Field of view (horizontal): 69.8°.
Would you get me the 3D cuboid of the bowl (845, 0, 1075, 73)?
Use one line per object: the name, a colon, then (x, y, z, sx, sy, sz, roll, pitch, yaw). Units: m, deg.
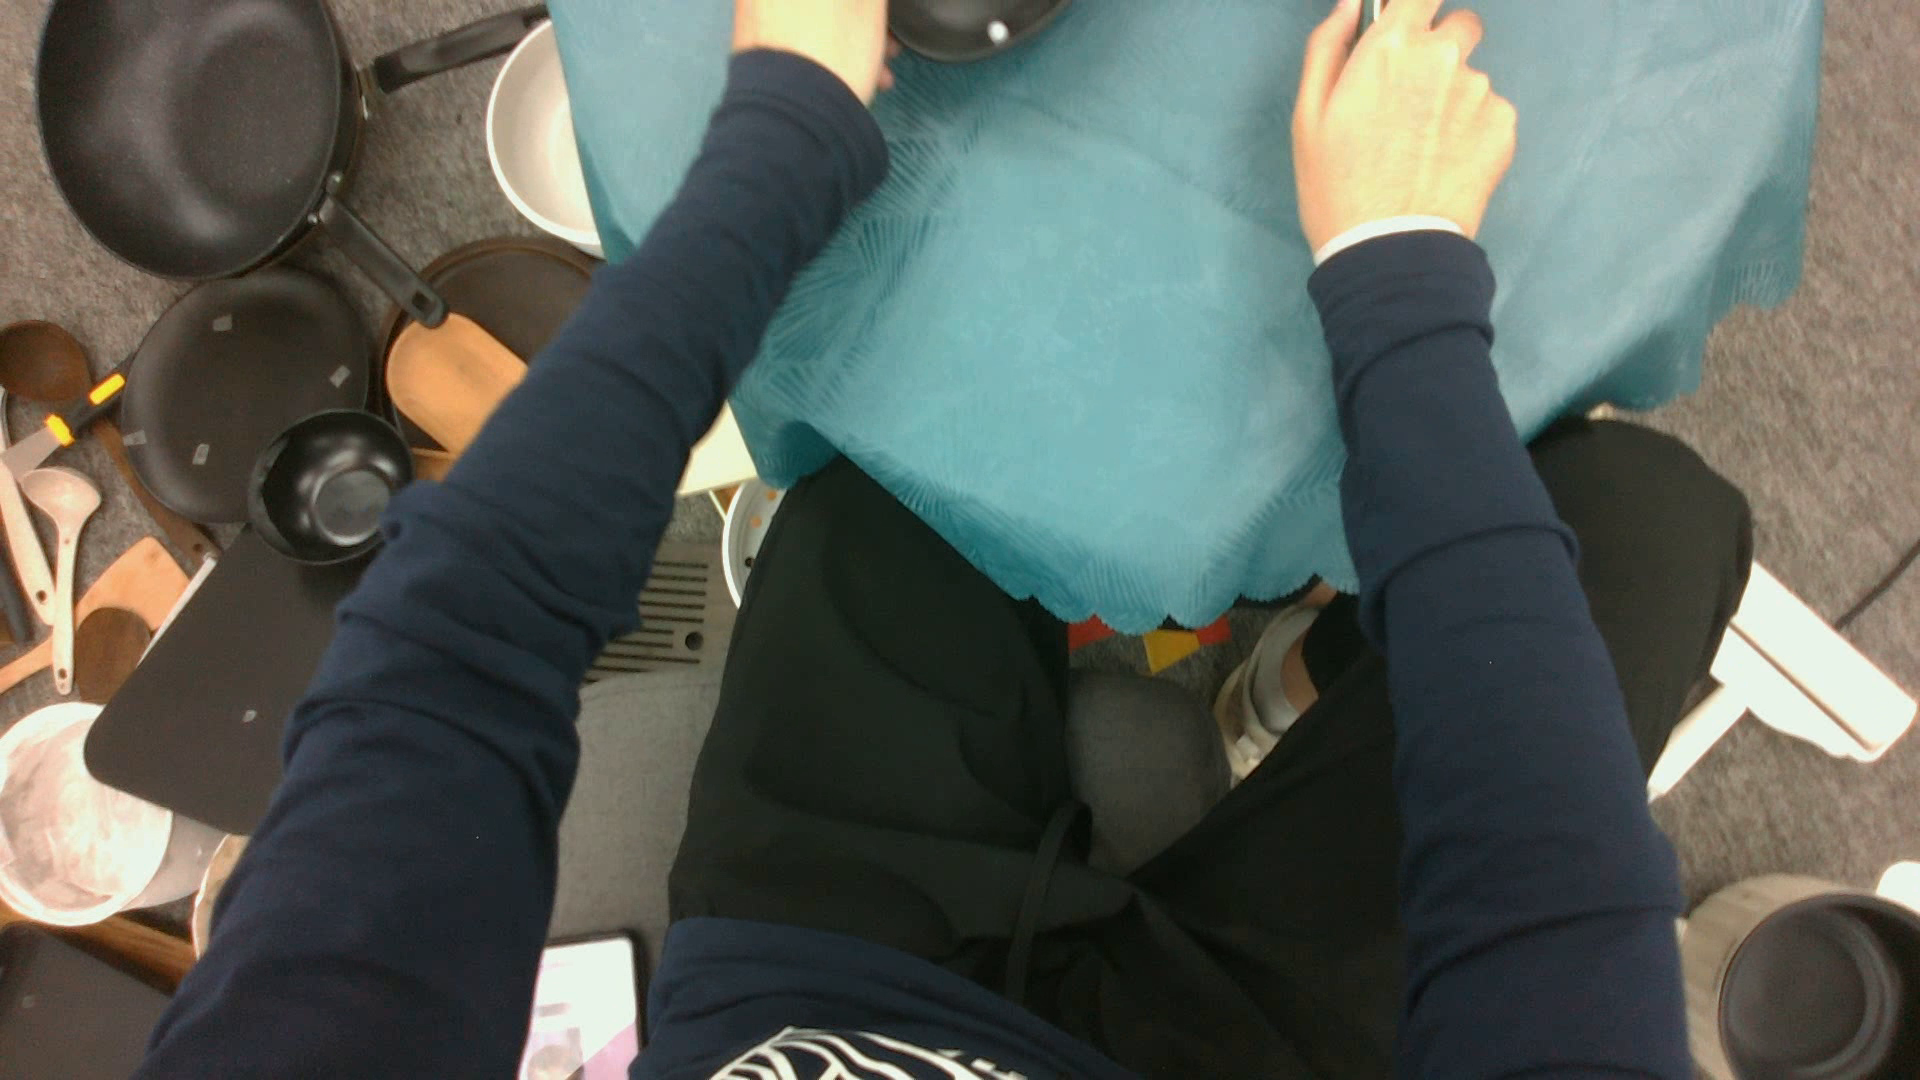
bowl: (0.008, -0.289, 0.628, 0.137, 0.066, 0.170, 9, 87, 5)

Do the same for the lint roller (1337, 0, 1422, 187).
lint roller: (0.186, -0.247, 0.599, 0.134, 0.048, 0.180, 2, 80, -12)
